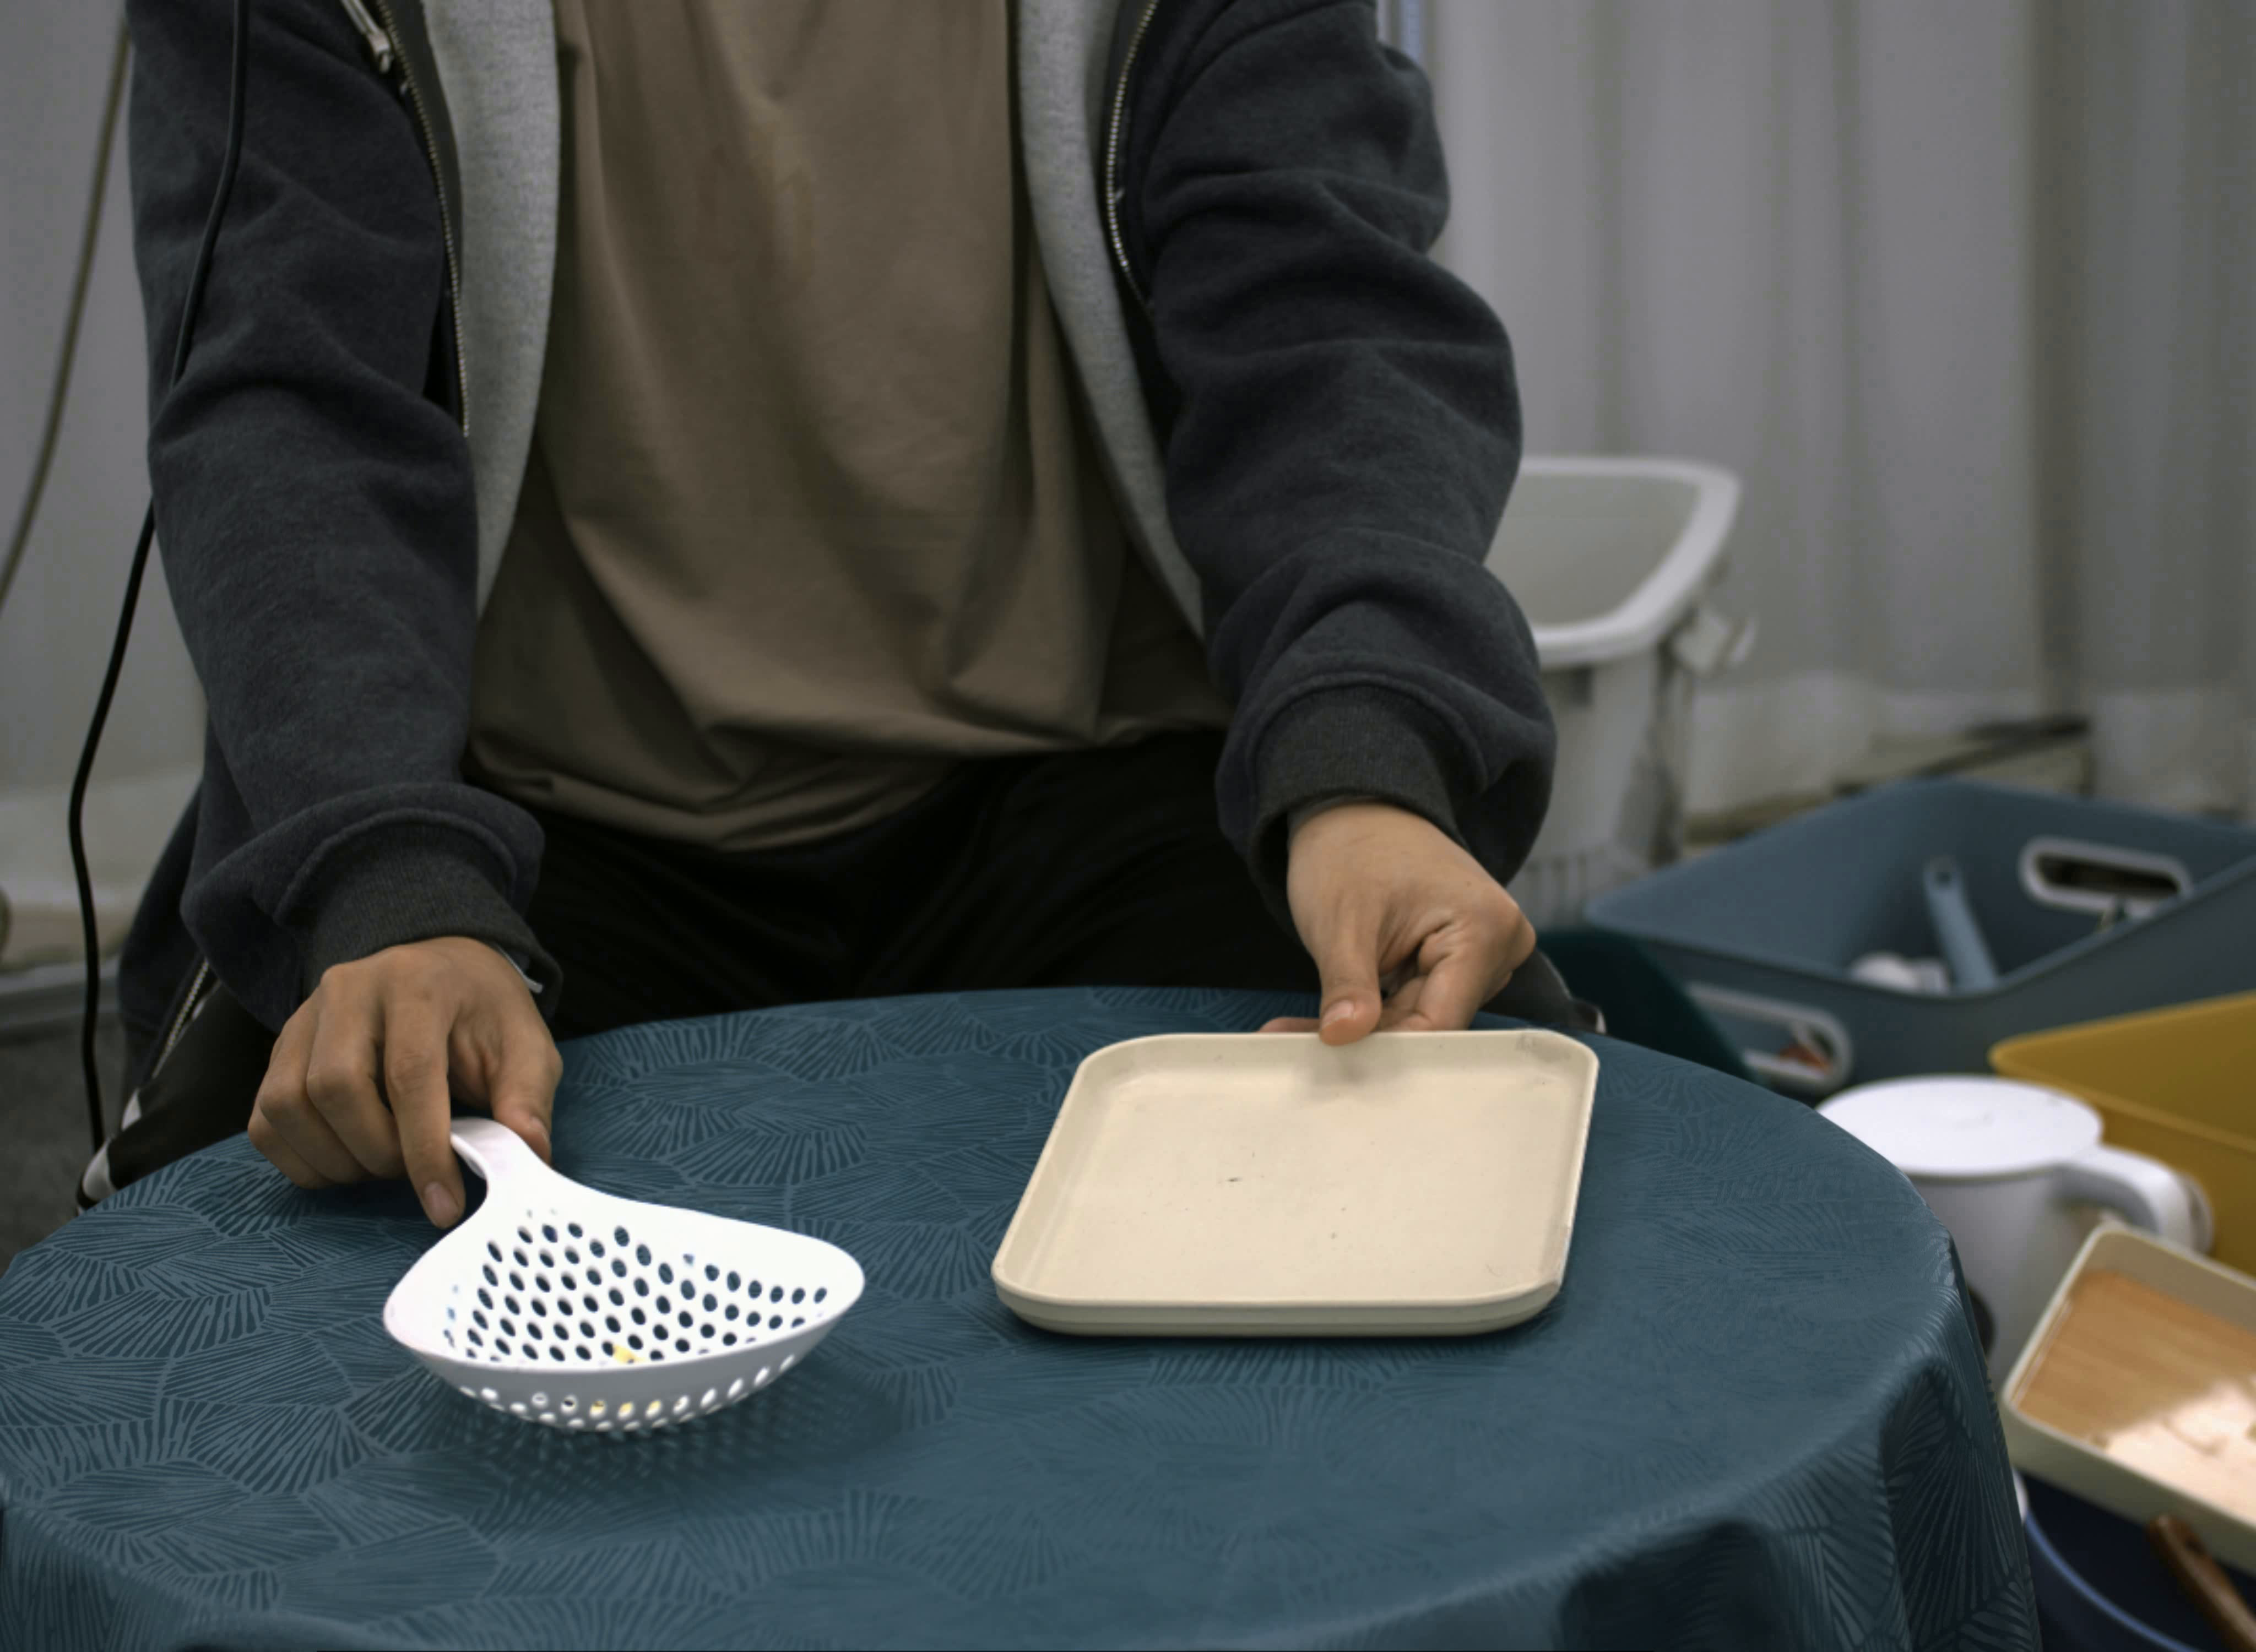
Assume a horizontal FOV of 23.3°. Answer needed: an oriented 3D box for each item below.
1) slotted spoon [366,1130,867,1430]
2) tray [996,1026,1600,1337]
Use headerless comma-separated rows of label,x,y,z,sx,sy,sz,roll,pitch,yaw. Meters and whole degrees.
slotted spoon,-0.179,0.122,1.643,0.136,0.050,0.351,-10,17,-18
tray,0.057,0.109,1.682,0.171,0.017,0.241,-1,17,9
